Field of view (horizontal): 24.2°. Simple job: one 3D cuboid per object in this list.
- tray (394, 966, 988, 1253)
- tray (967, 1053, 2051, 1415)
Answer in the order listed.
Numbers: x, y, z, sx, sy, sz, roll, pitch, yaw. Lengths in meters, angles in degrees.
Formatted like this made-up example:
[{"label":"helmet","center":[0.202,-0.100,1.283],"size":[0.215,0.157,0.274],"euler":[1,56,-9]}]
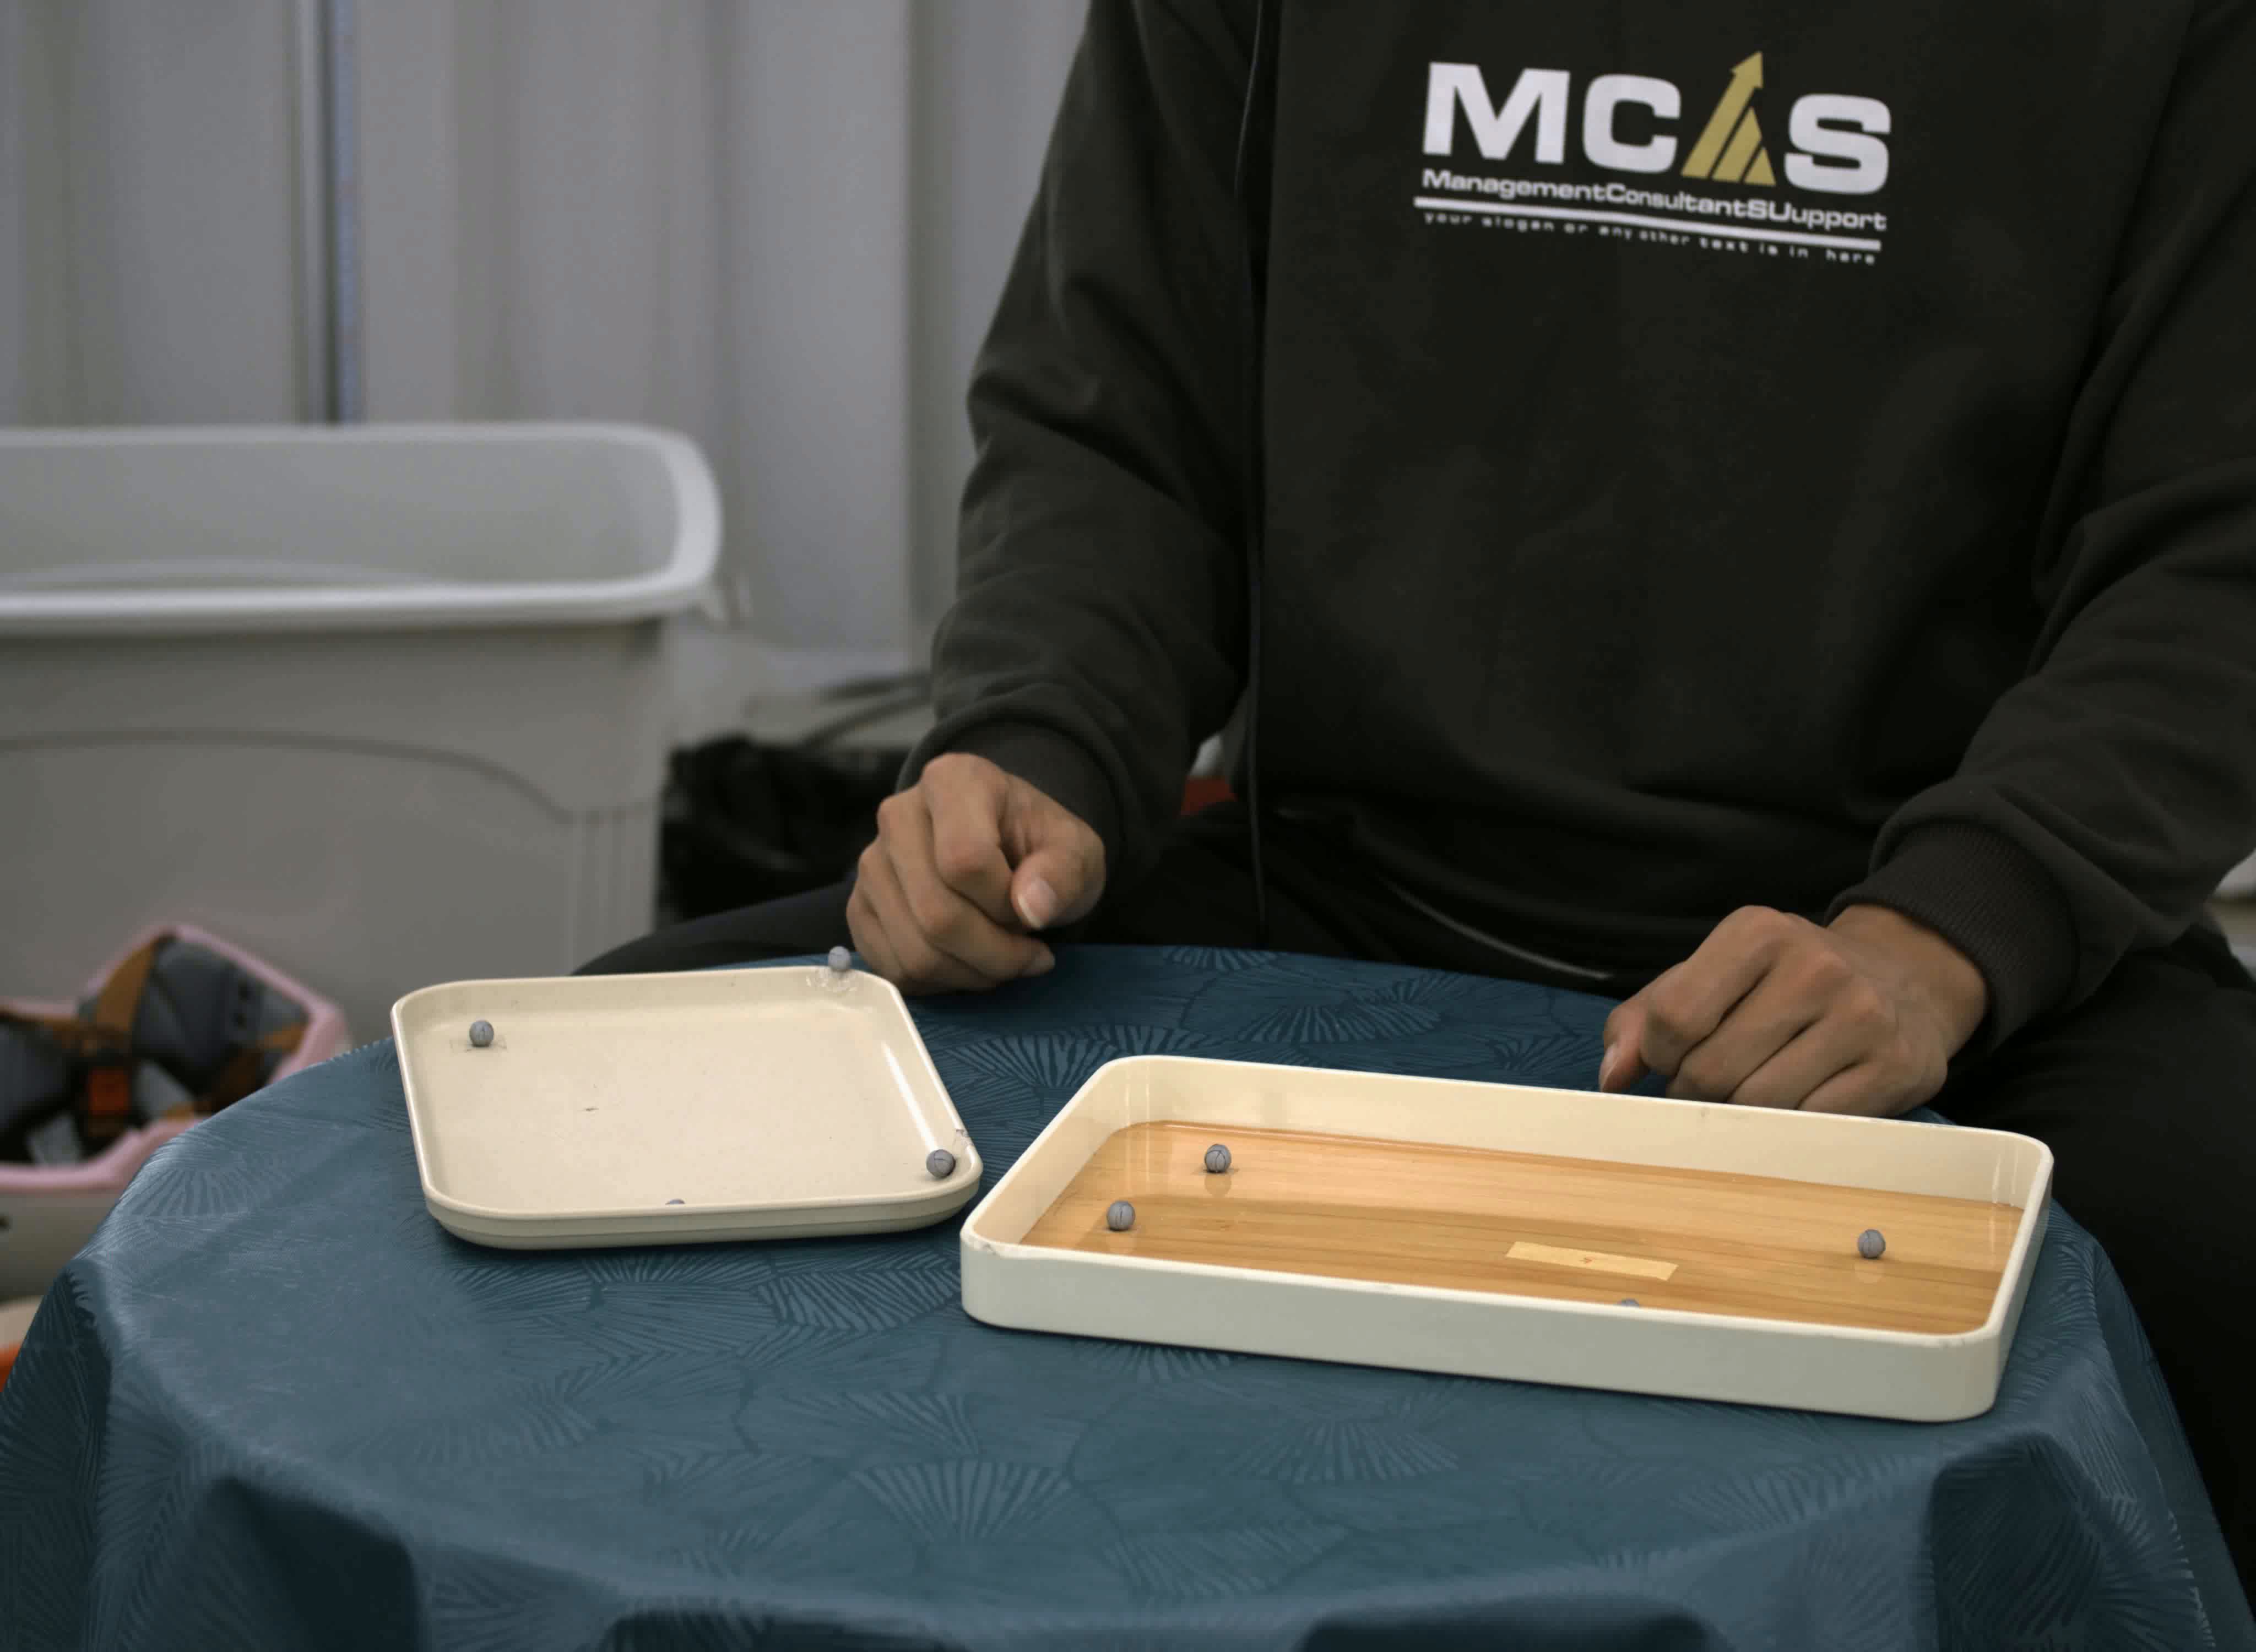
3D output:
[{"label":"tray","center":[-0.143,0.089,1.675],"size":[0.171,0.017,0.237],"euler":[-3,16,-11]},{"label":"tray","center":[0.117,0.118,1.566],"size":[0.298,0.027,0.191],"euler":[5,16,13]}]
